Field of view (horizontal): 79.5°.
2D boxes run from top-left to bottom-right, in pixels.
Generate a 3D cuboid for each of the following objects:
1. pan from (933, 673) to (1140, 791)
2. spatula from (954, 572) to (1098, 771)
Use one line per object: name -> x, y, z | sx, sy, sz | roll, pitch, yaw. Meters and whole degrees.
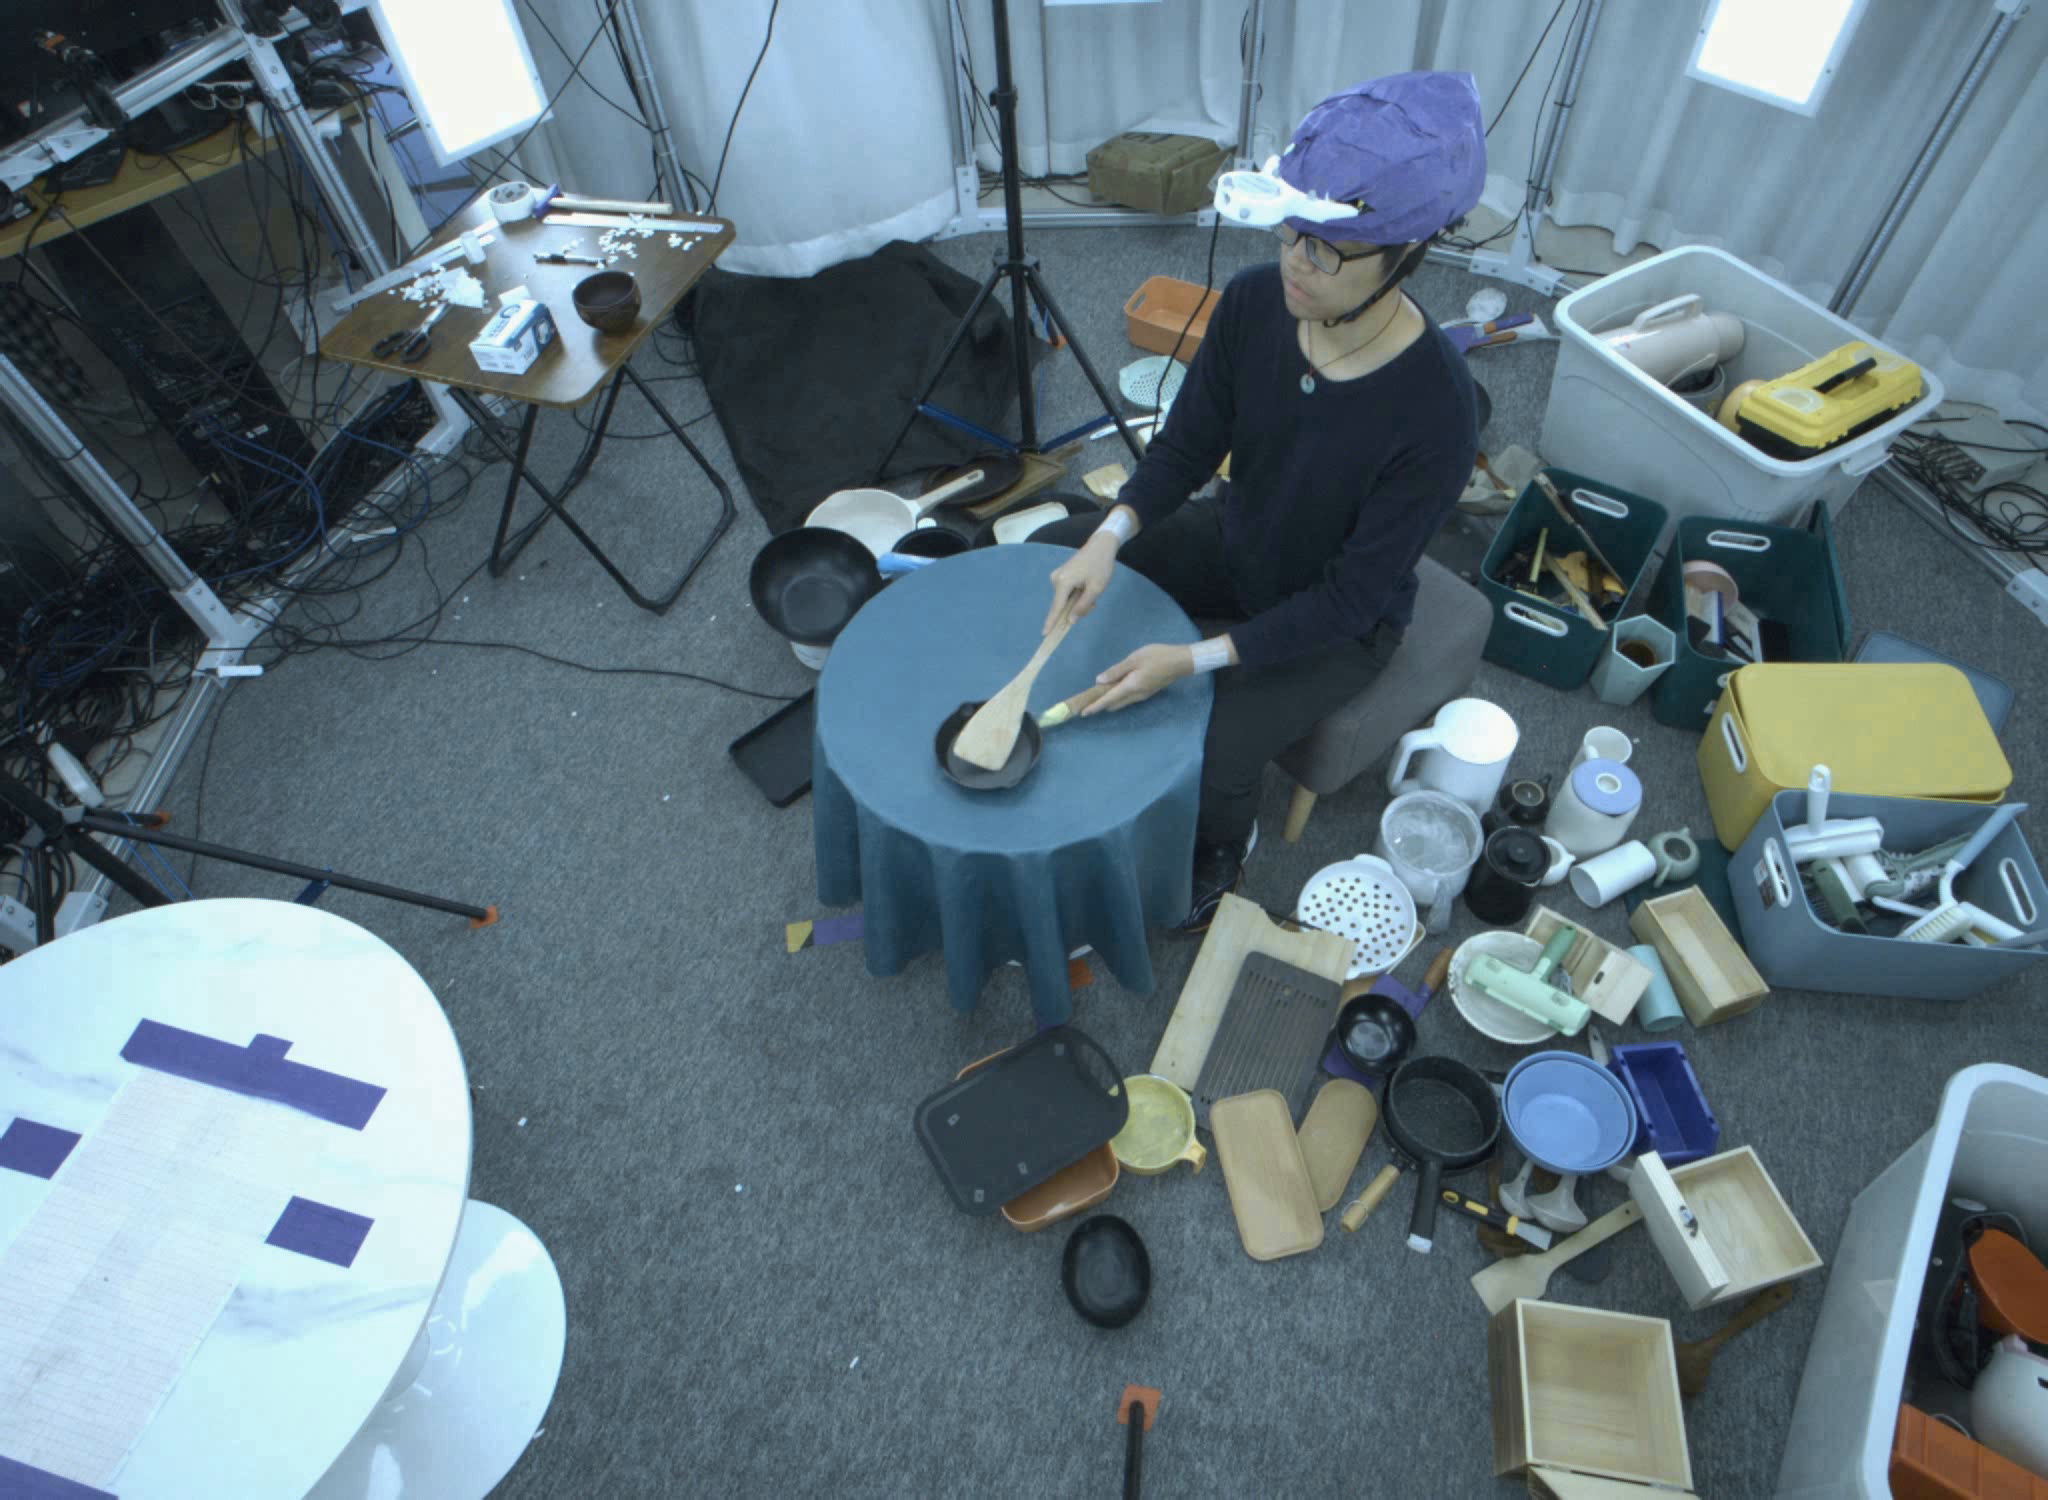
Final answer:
pan -> 0.025, -0.038, 1.782 | 0.326, 0.050, 0.166 | -23, 57, -11
spatula -> 0.015, -0.116, 1.761 | 0.081, 0.016, 0.327 | 33, 88, -19
